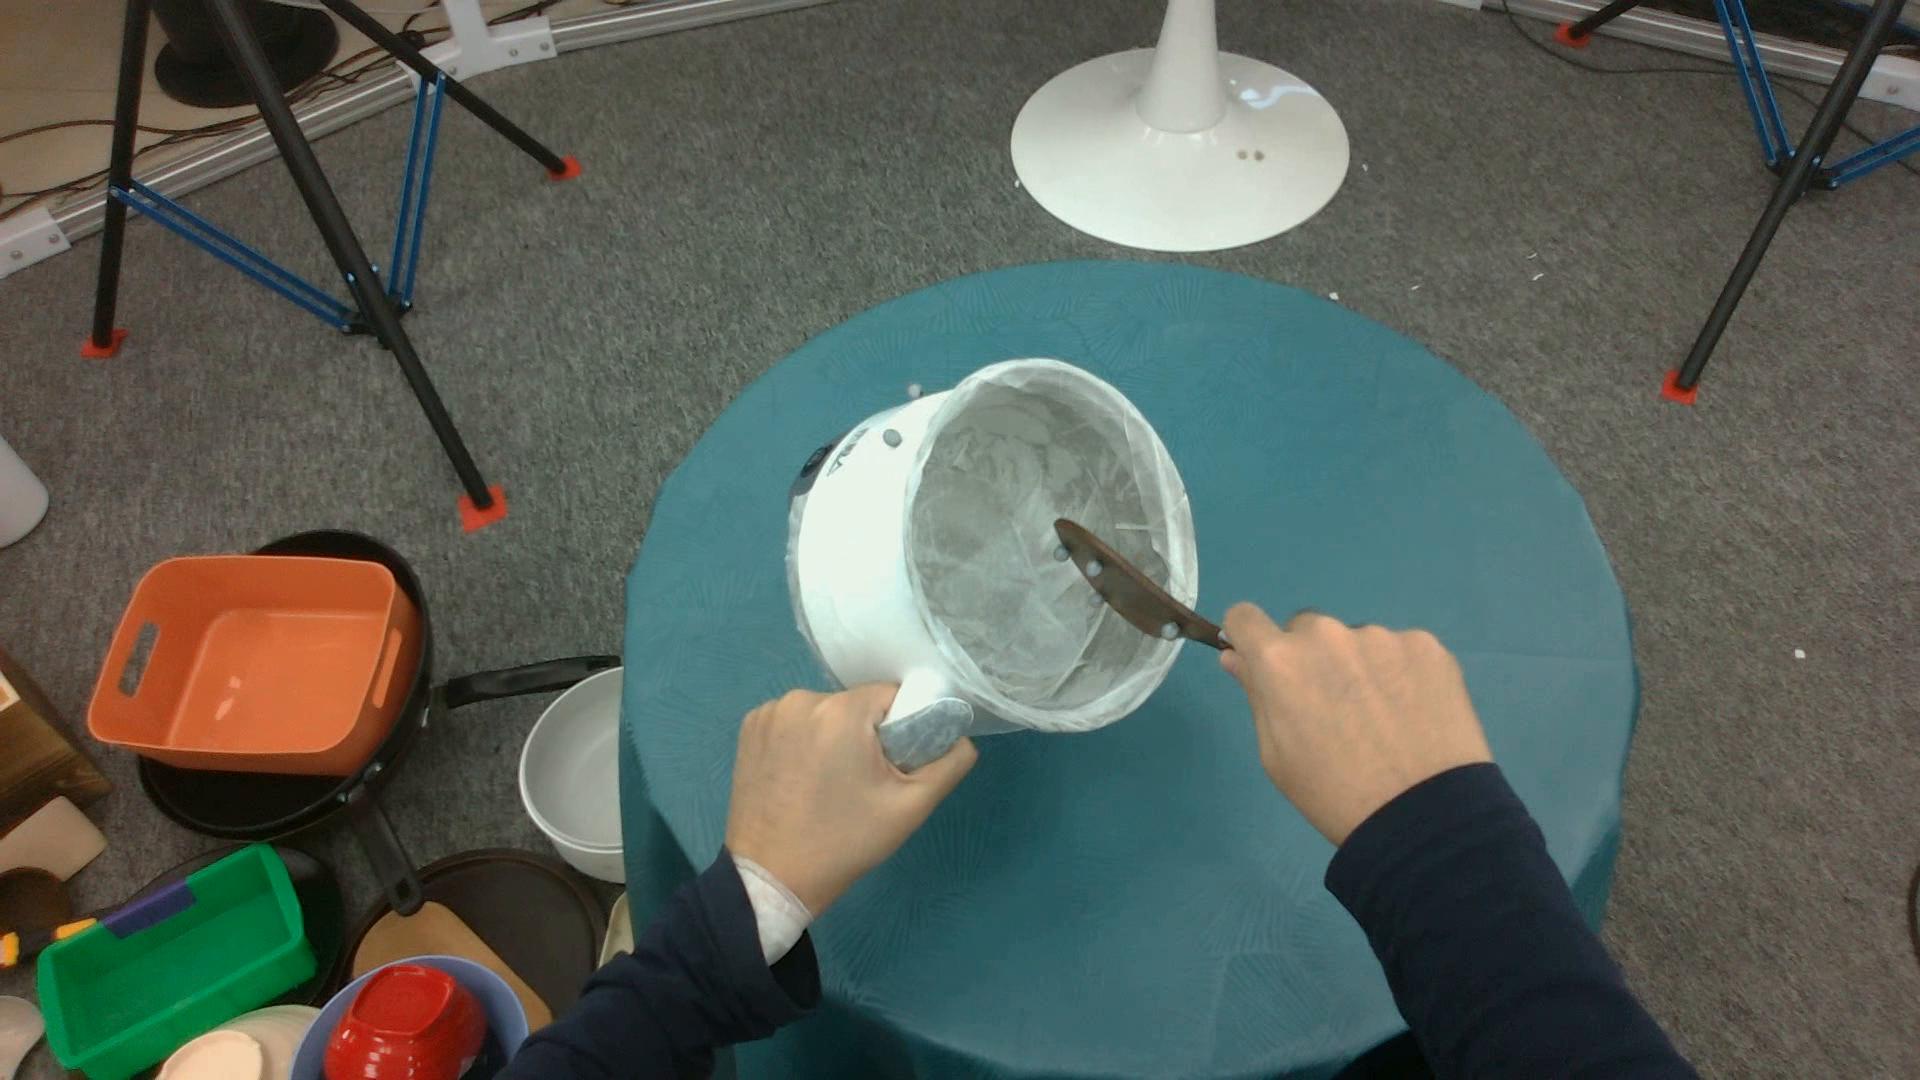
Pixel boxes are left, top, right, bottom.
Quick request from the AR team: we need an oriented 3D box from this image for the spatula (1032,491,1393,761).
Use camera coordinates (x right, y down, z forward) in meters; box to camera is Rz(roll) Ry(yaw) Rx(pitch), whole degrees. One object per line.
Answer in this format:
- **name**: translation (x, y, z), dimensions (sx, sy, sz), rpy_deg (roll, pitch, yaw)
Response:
- **spatula**: translation (0.102, 0.041, 0.610), dimensions (0.009, 0.071, 0.216), rpy_deg (-6, 27, -40)

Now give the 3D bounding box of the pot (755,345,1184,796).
- **pot**: translation (-0.009, 0.025, 0.683), dimensions (0.178, 0.136, 0.235), rpy_deg (44, 59, -20)
